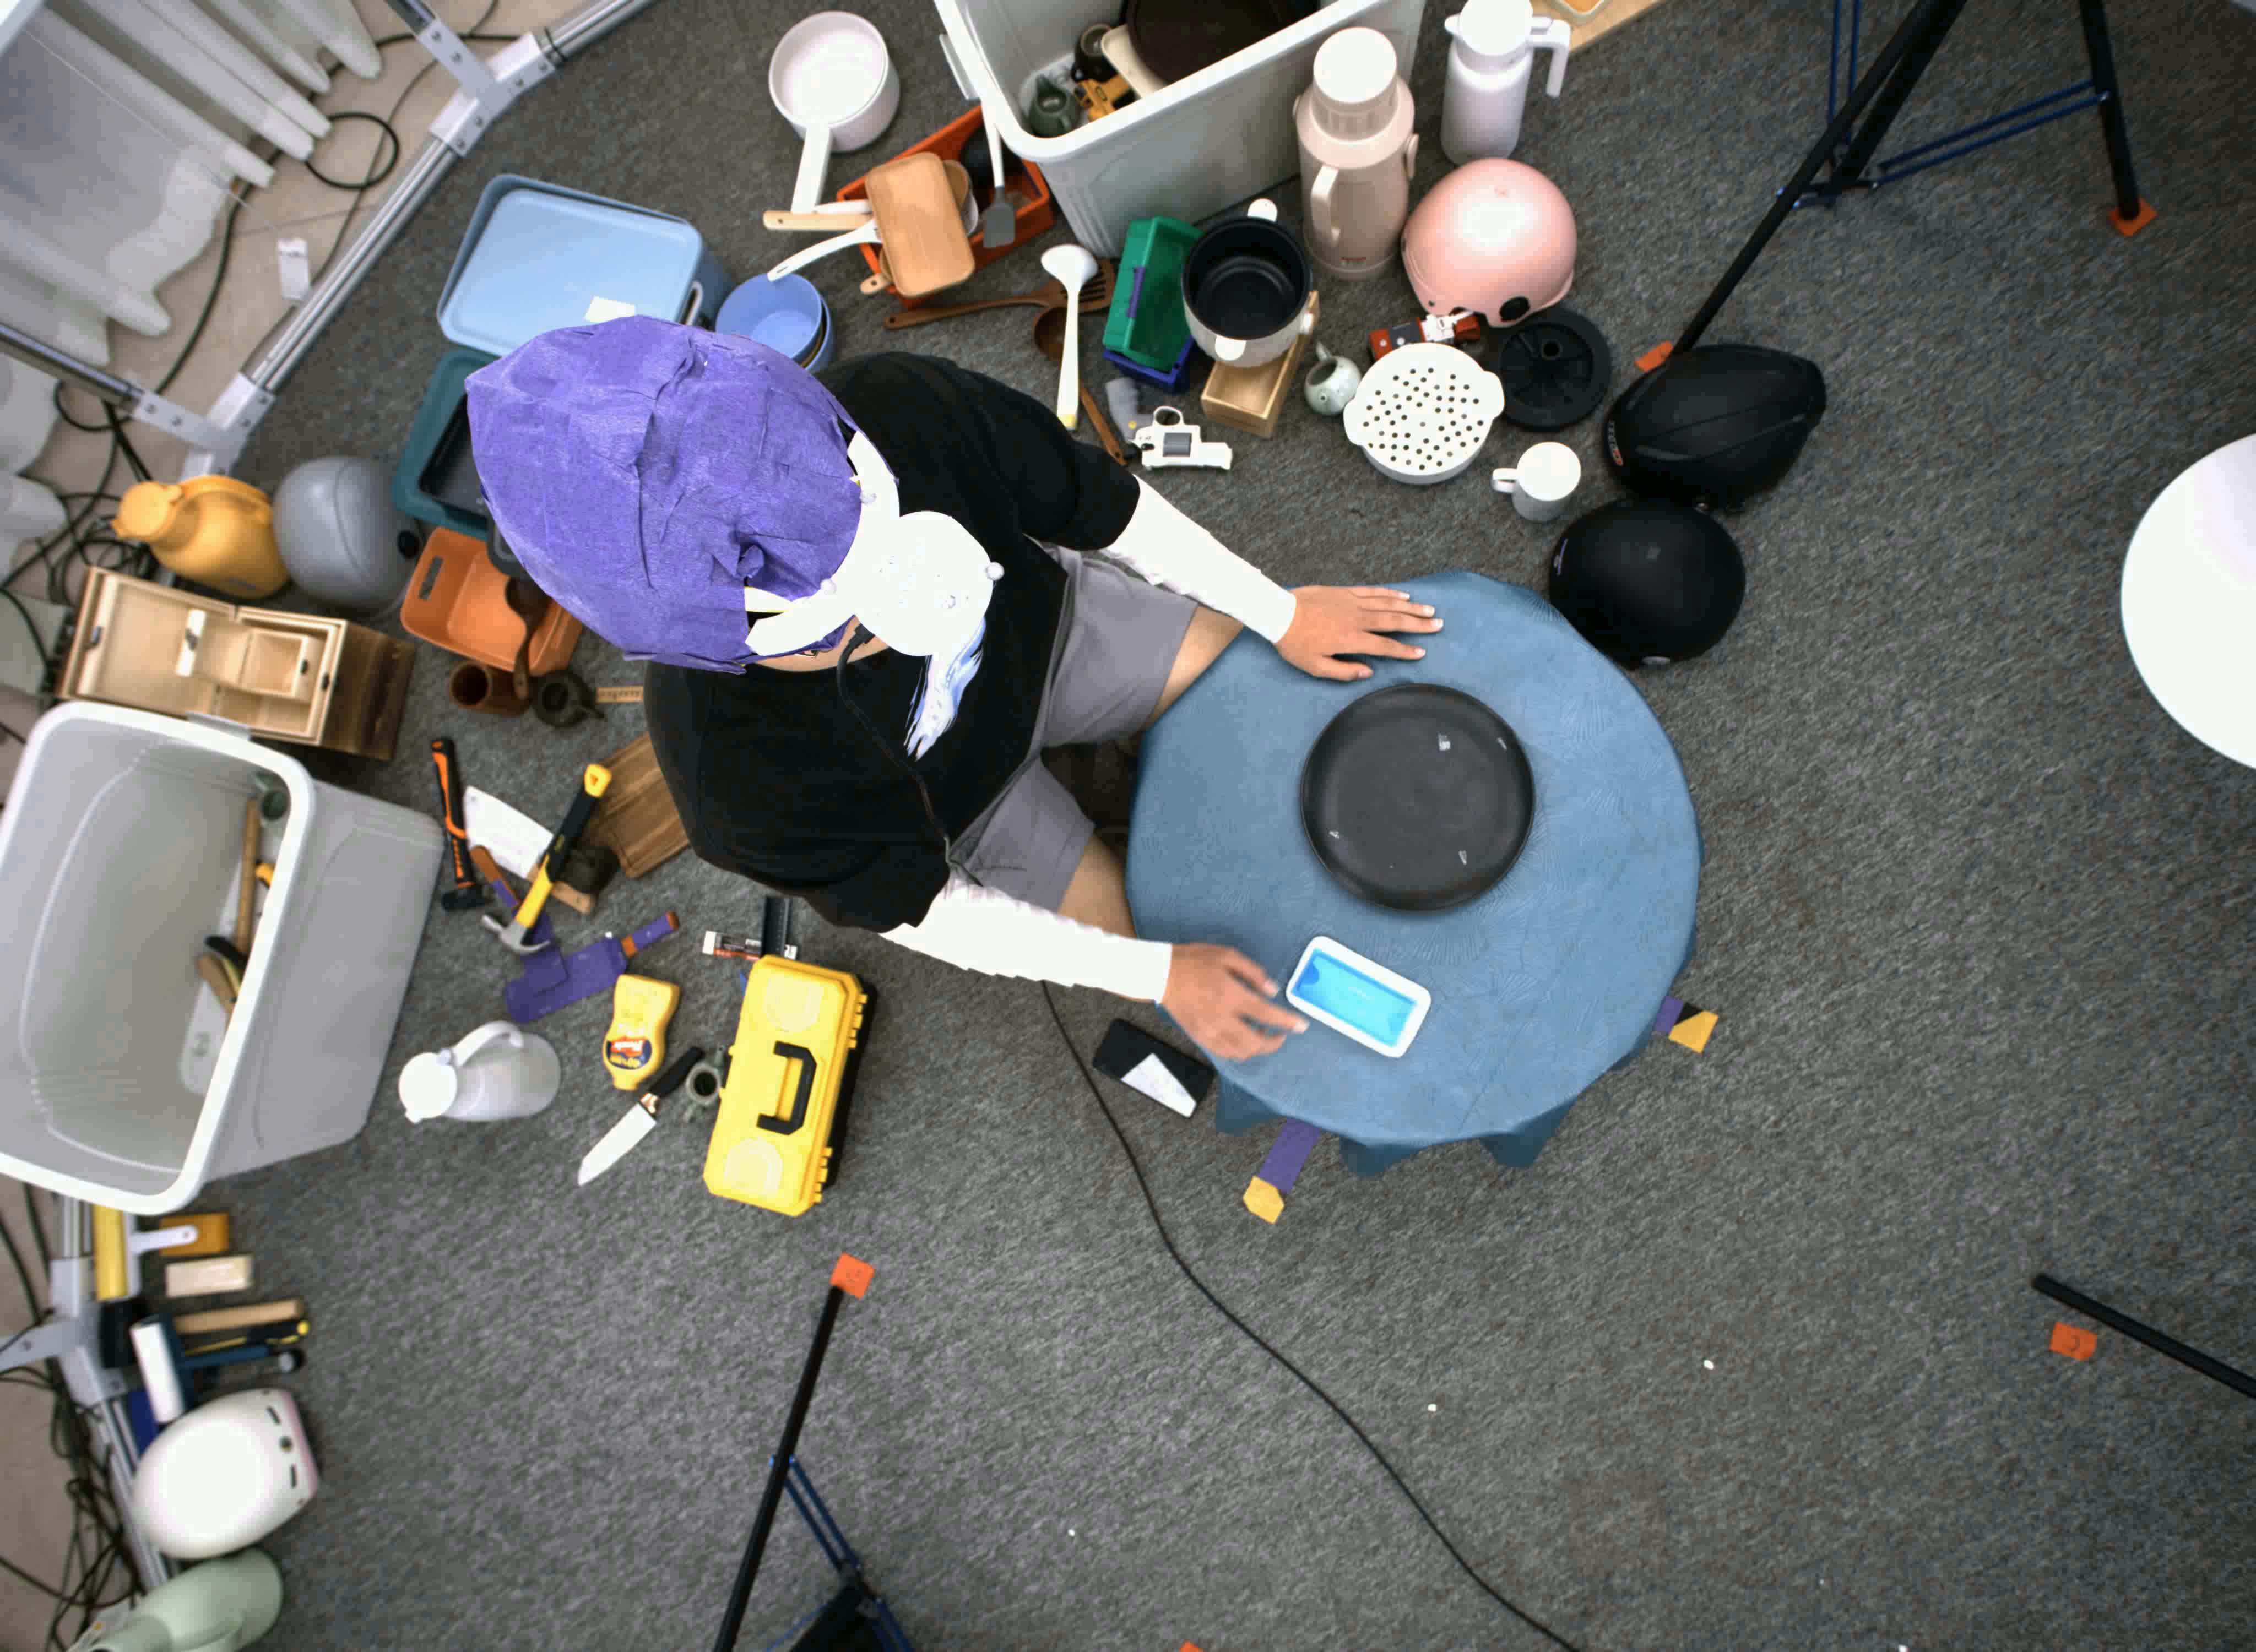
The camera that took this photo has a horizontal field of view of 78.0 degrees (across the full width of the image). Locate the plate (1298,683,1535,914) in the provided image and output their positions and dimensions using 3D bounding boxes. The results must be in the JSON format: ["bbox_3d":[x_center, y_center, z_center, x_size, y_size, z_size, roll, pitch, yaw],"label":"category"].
[{"bbox_3d":[0.302,-0.030,1.446,0.245,0.023,0.243,-1,87,11],"label":"plate"}]

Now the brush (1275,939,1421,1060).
[{"bbox_3d":[0.228,0.177,1.429,0.144,0.056,0.083,26,87,8],"label":"brush"}]
